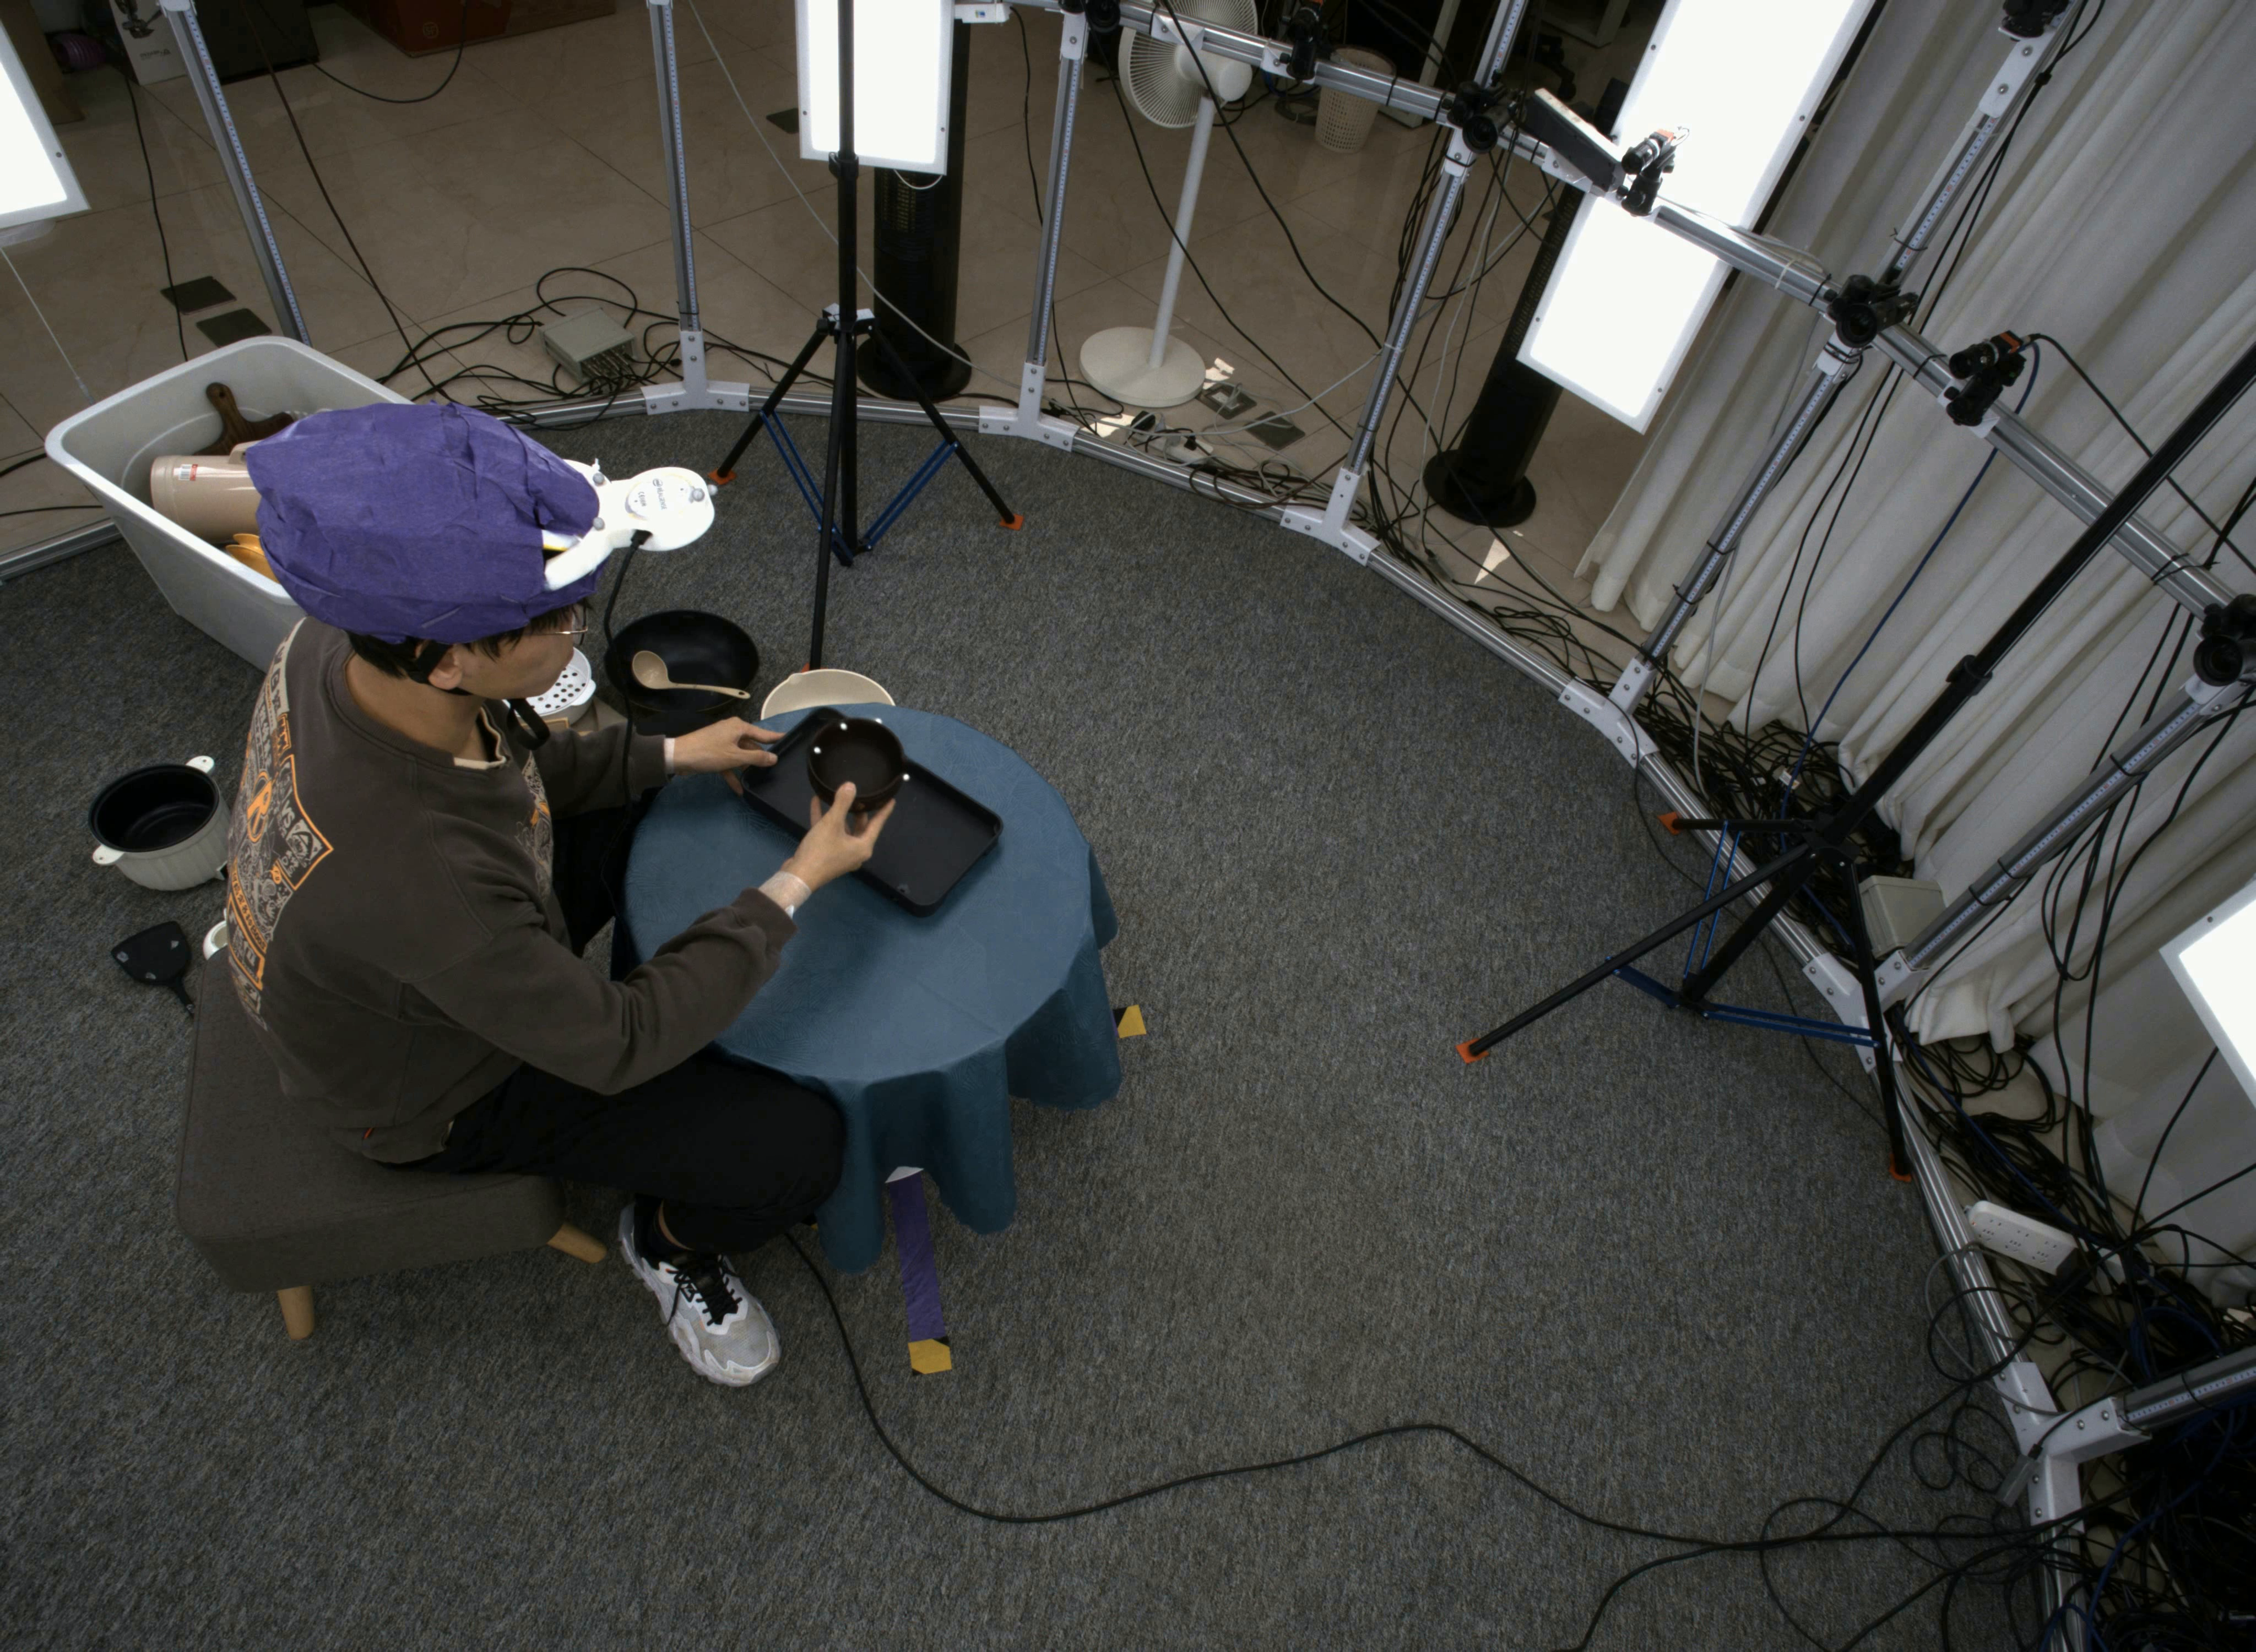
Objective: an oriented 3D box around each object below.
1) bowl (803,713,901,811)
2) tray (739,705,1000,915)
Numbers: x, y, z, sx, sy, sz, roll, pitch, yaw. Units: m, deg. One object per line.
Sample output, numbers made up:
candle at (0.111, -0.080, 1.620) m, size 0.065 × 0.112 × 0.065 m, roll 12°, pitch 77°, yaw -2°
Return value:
bowl at (-0.338, -0.071, 1.591) m, size 0.118 × 0.071 × 0.116 m, roll 6°, pitch 62°, yaw -10°
tray at (-0.345, -0.025, 1.743) m, size 0.314 × 0.037 × 0.183 m, roll 32°, pitch 54°, yaw 6°
